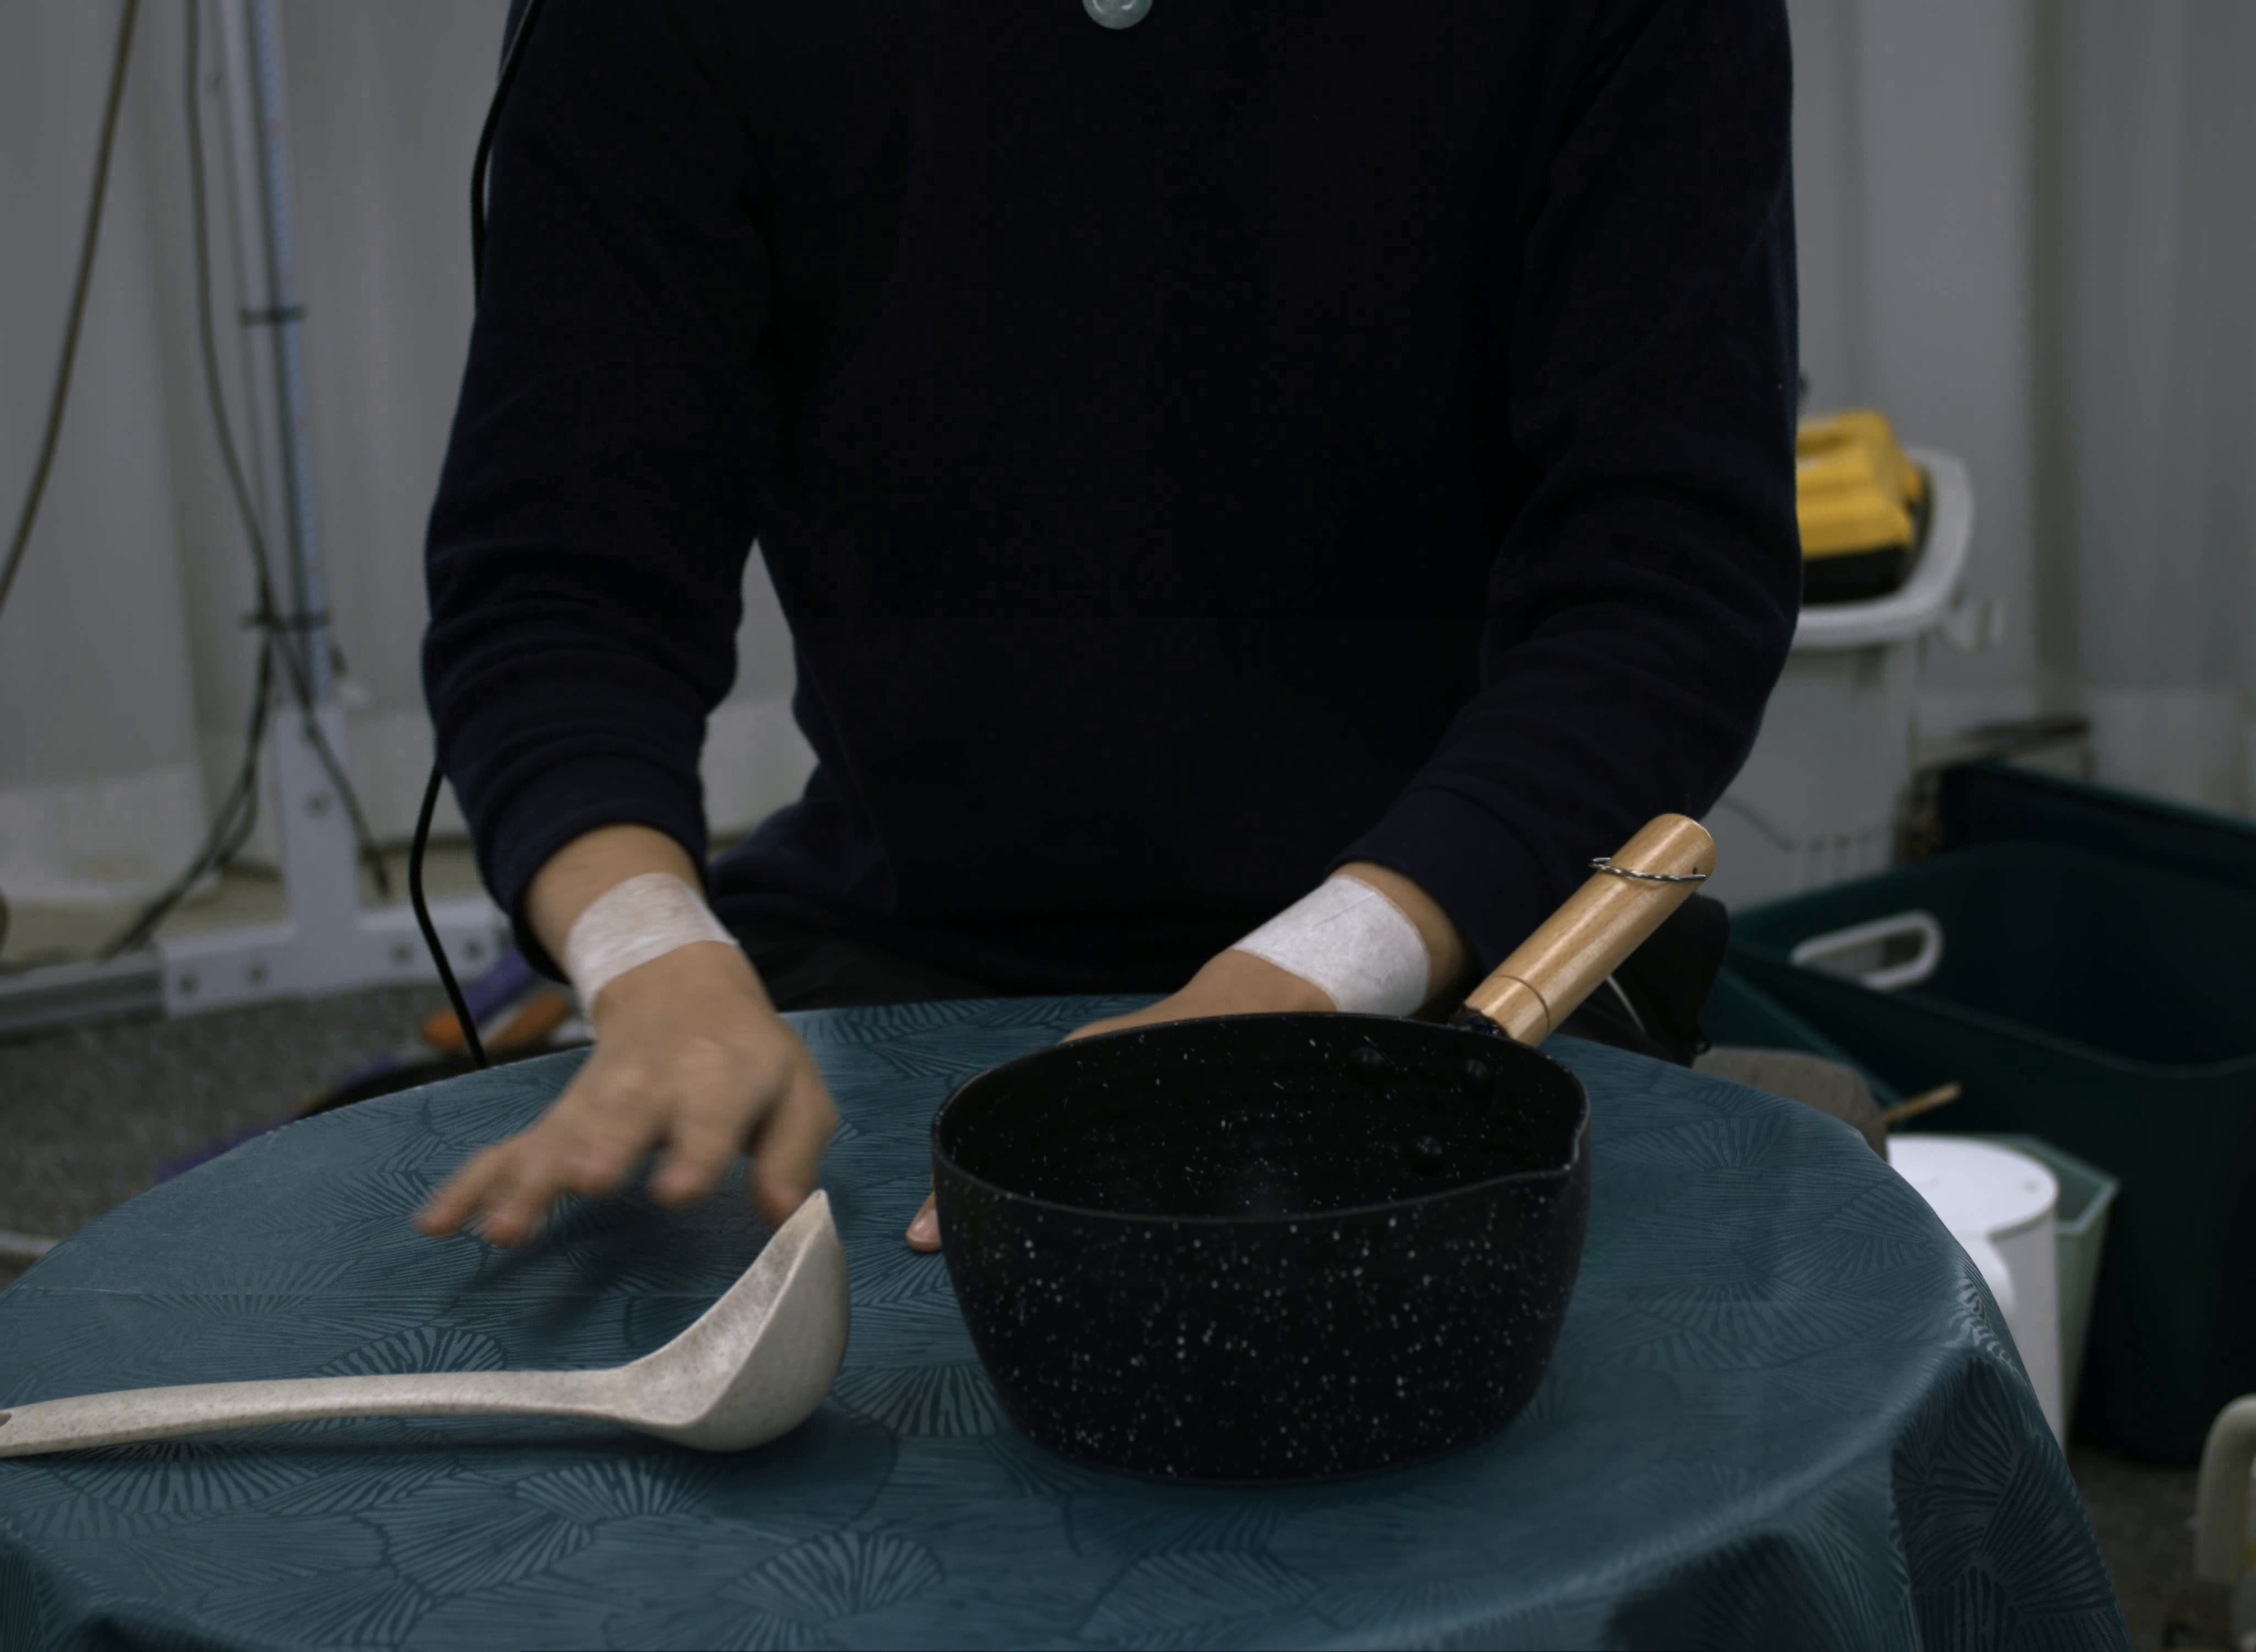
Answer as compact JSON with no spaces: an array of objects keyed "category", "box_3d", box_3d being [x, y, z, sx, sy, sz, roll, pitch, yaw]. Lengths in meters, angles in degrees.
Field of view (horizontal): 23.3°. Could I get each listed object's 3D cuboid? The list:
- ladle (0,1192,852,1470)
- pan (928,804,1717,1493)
[{"category":"ladle","box_3d":[-0.212,0.144,1.525,0.274,0.069,0.090,-3,26,5]},{"category":"pan","box_3d":[0.081,0.088,1.590,0.208,0.108,0.343,5,18,33]}]
